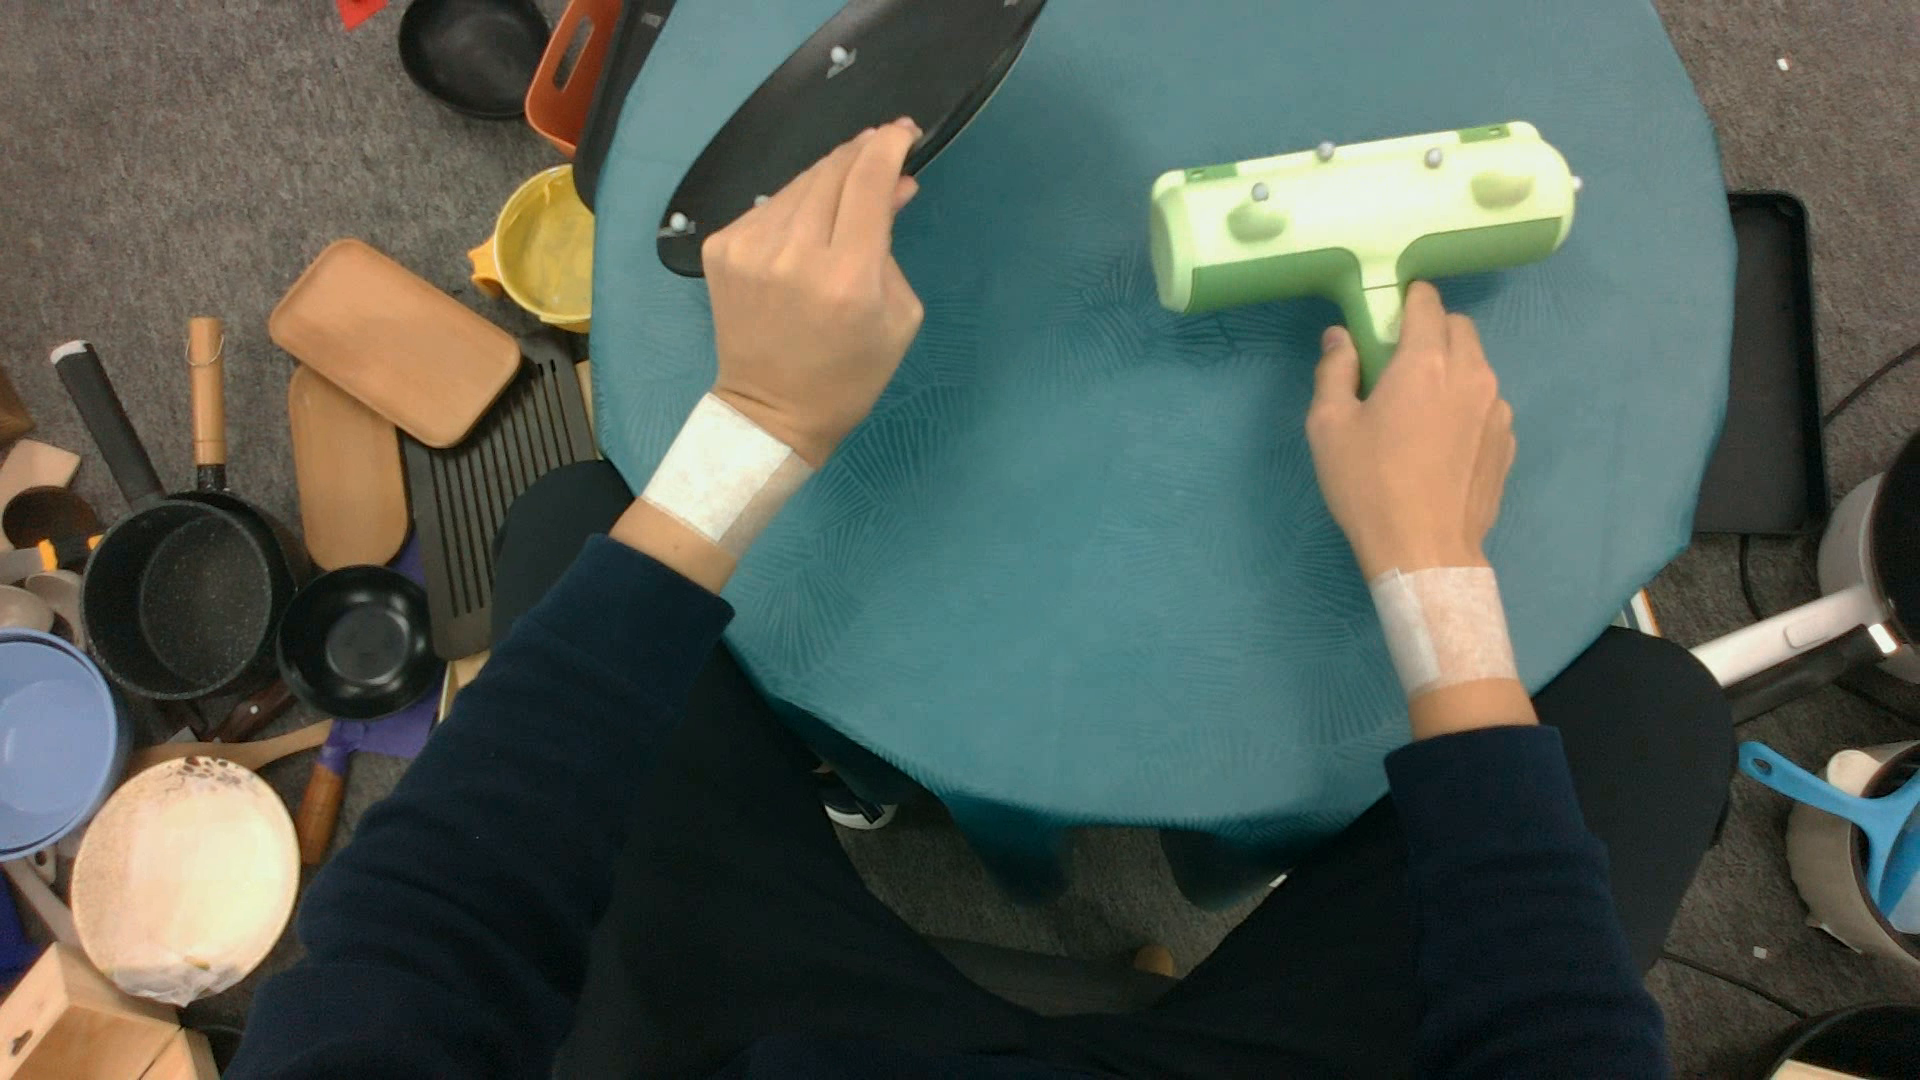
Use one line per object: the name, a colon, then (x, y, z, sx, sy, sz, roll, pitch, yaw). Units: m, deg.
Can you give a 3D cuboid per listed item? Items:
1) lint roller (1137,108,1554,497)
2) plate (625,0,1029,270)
lint roller: (0.195, -0.116, 0.644, 0.199, 0.082, 0.184, -9, 68, -4)
plate: (-0.060, -0.209, 0.652, 0.243, 0.023, 0.245, -26, 38, 22)
